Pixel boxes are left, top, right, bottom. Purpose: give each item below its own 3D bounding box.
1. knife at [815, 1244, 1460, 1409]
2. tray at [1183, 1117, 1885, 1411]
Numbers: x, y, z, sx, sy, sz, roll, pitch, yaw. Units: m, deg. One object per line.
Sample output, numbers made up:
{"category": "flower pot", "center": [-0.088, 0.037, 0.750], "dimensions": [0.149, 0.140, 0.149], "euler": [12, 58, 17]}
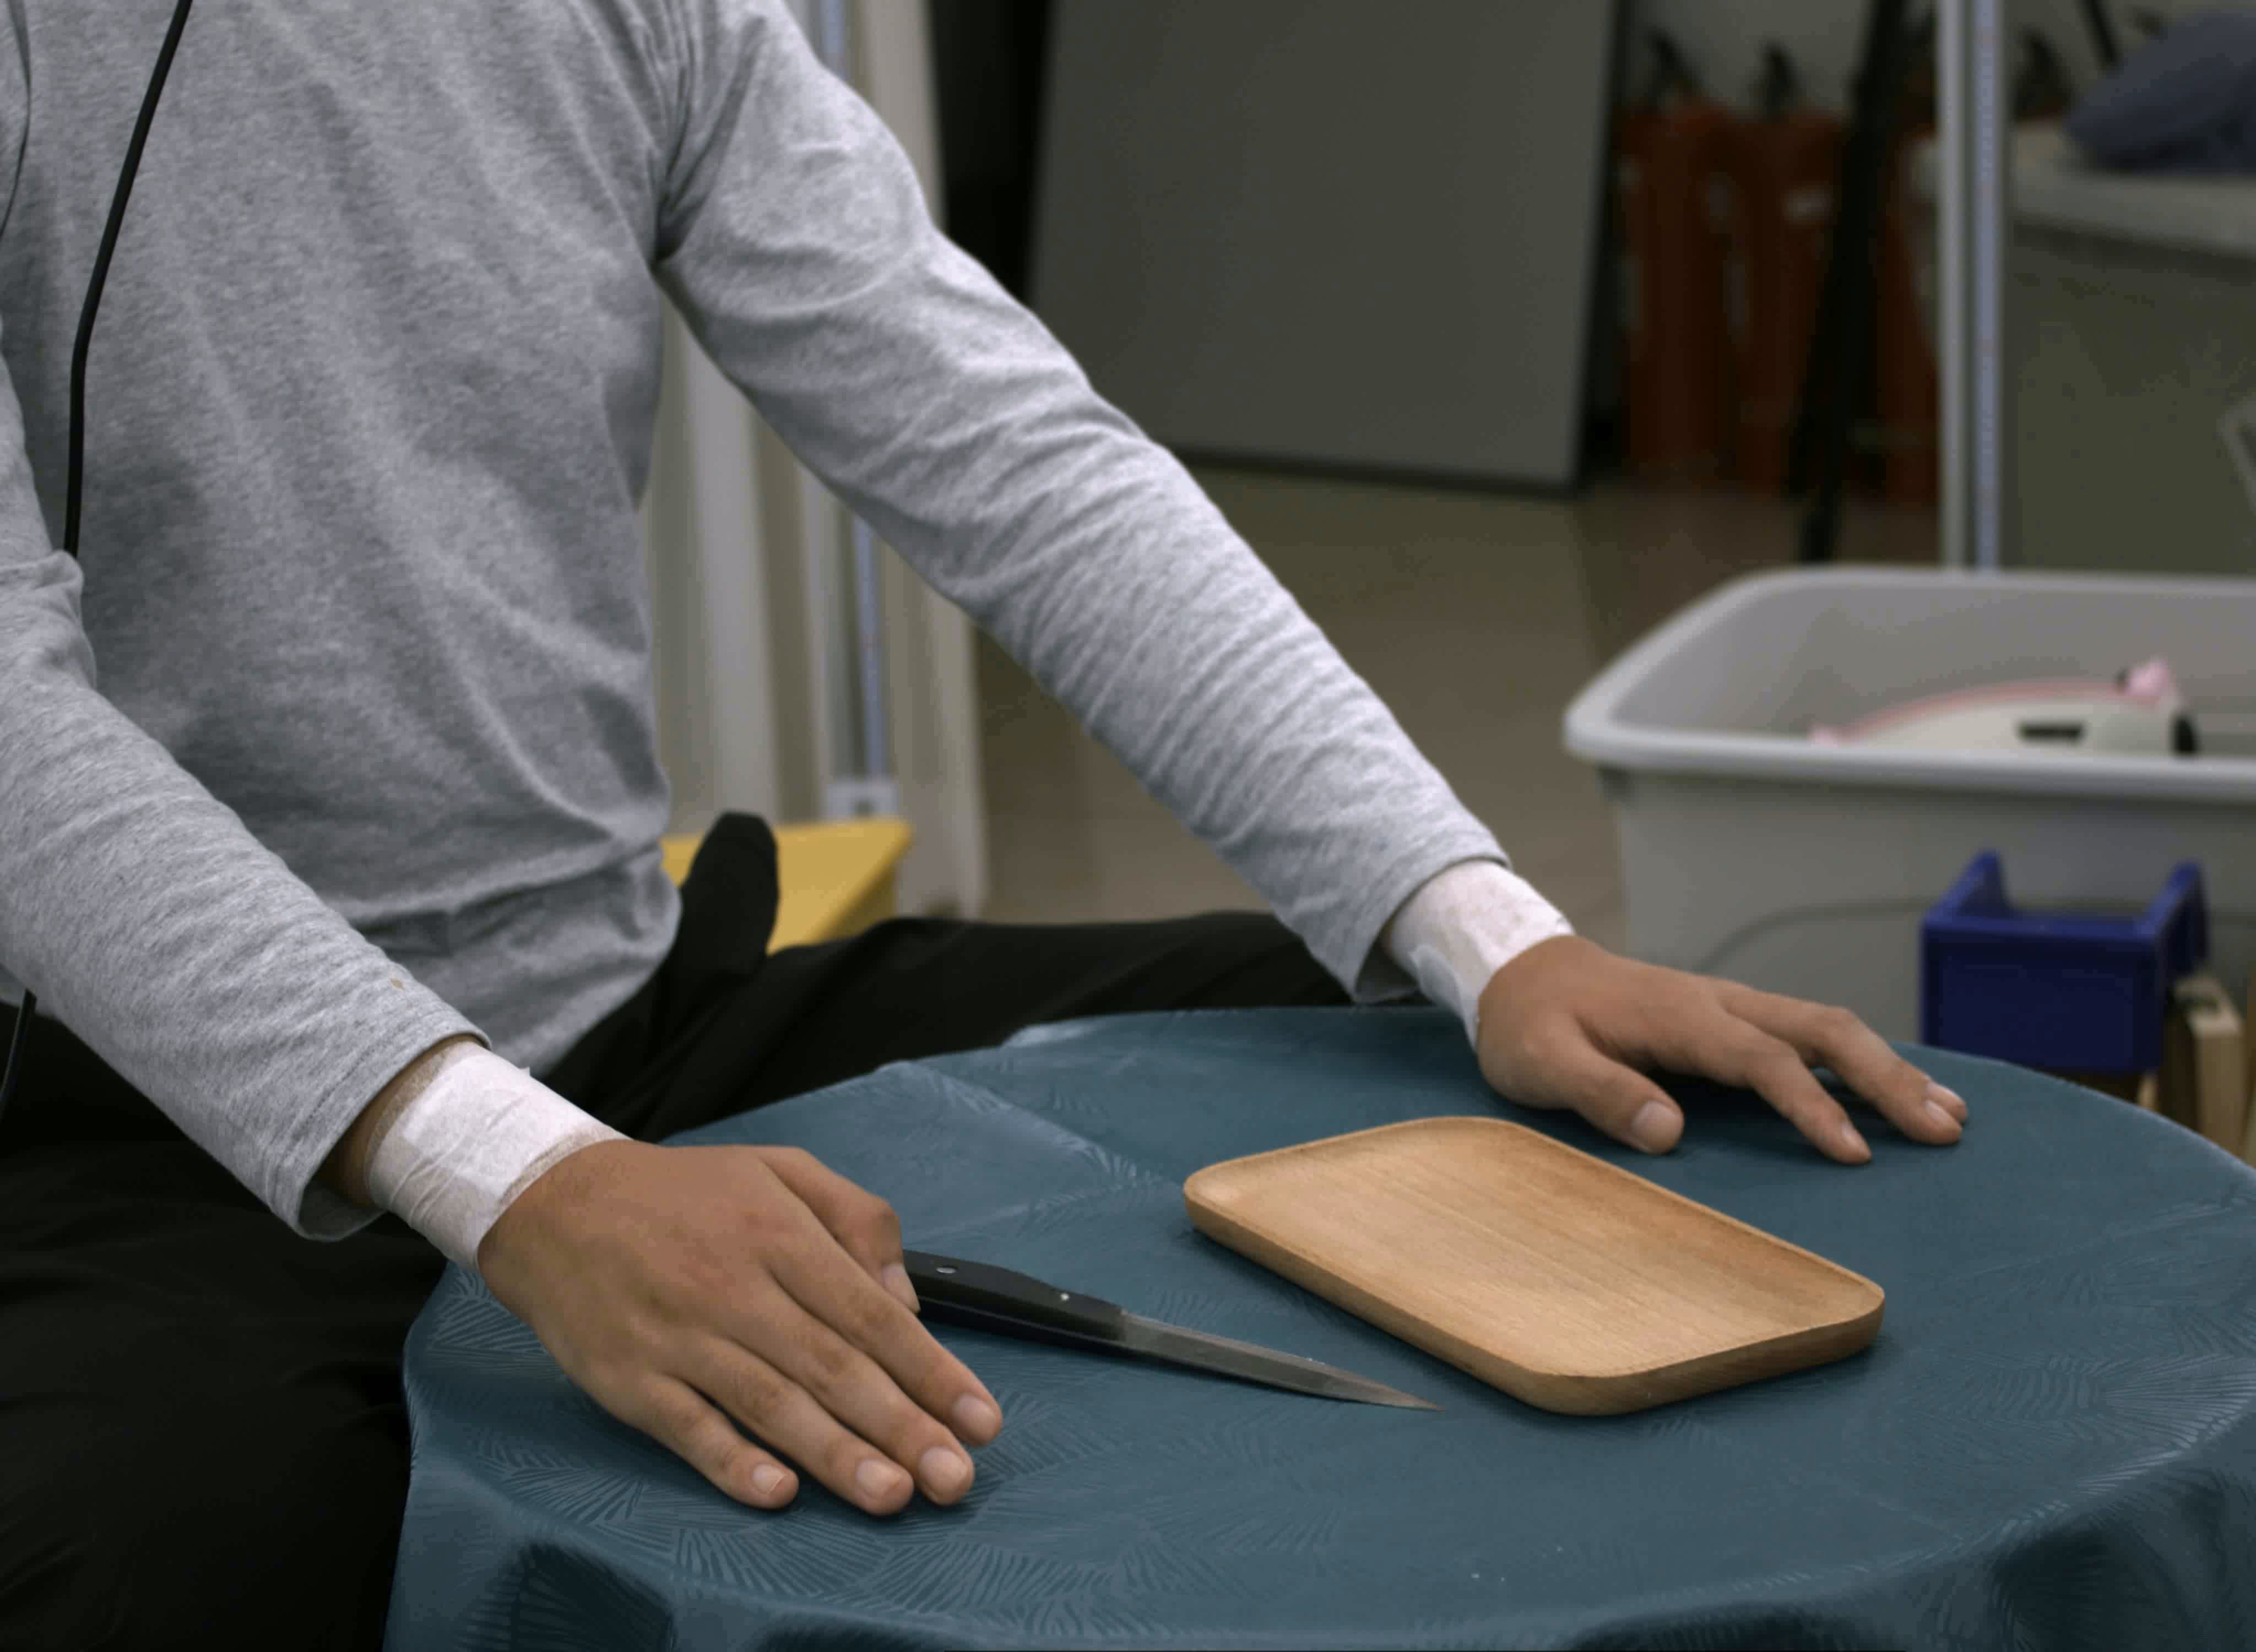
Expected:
{"category": "knife", "center": [-0.002, 0.153, 1.621], "dimensions": [0.239, 0.016, 0.024], "euler": [9, 18, 35]}
{"category": "tray", "center": [0.121, 0.132, 1.658], "dimensions": [0.127, 0.023, 0.253], "euler": [-7, 13, -25]}
